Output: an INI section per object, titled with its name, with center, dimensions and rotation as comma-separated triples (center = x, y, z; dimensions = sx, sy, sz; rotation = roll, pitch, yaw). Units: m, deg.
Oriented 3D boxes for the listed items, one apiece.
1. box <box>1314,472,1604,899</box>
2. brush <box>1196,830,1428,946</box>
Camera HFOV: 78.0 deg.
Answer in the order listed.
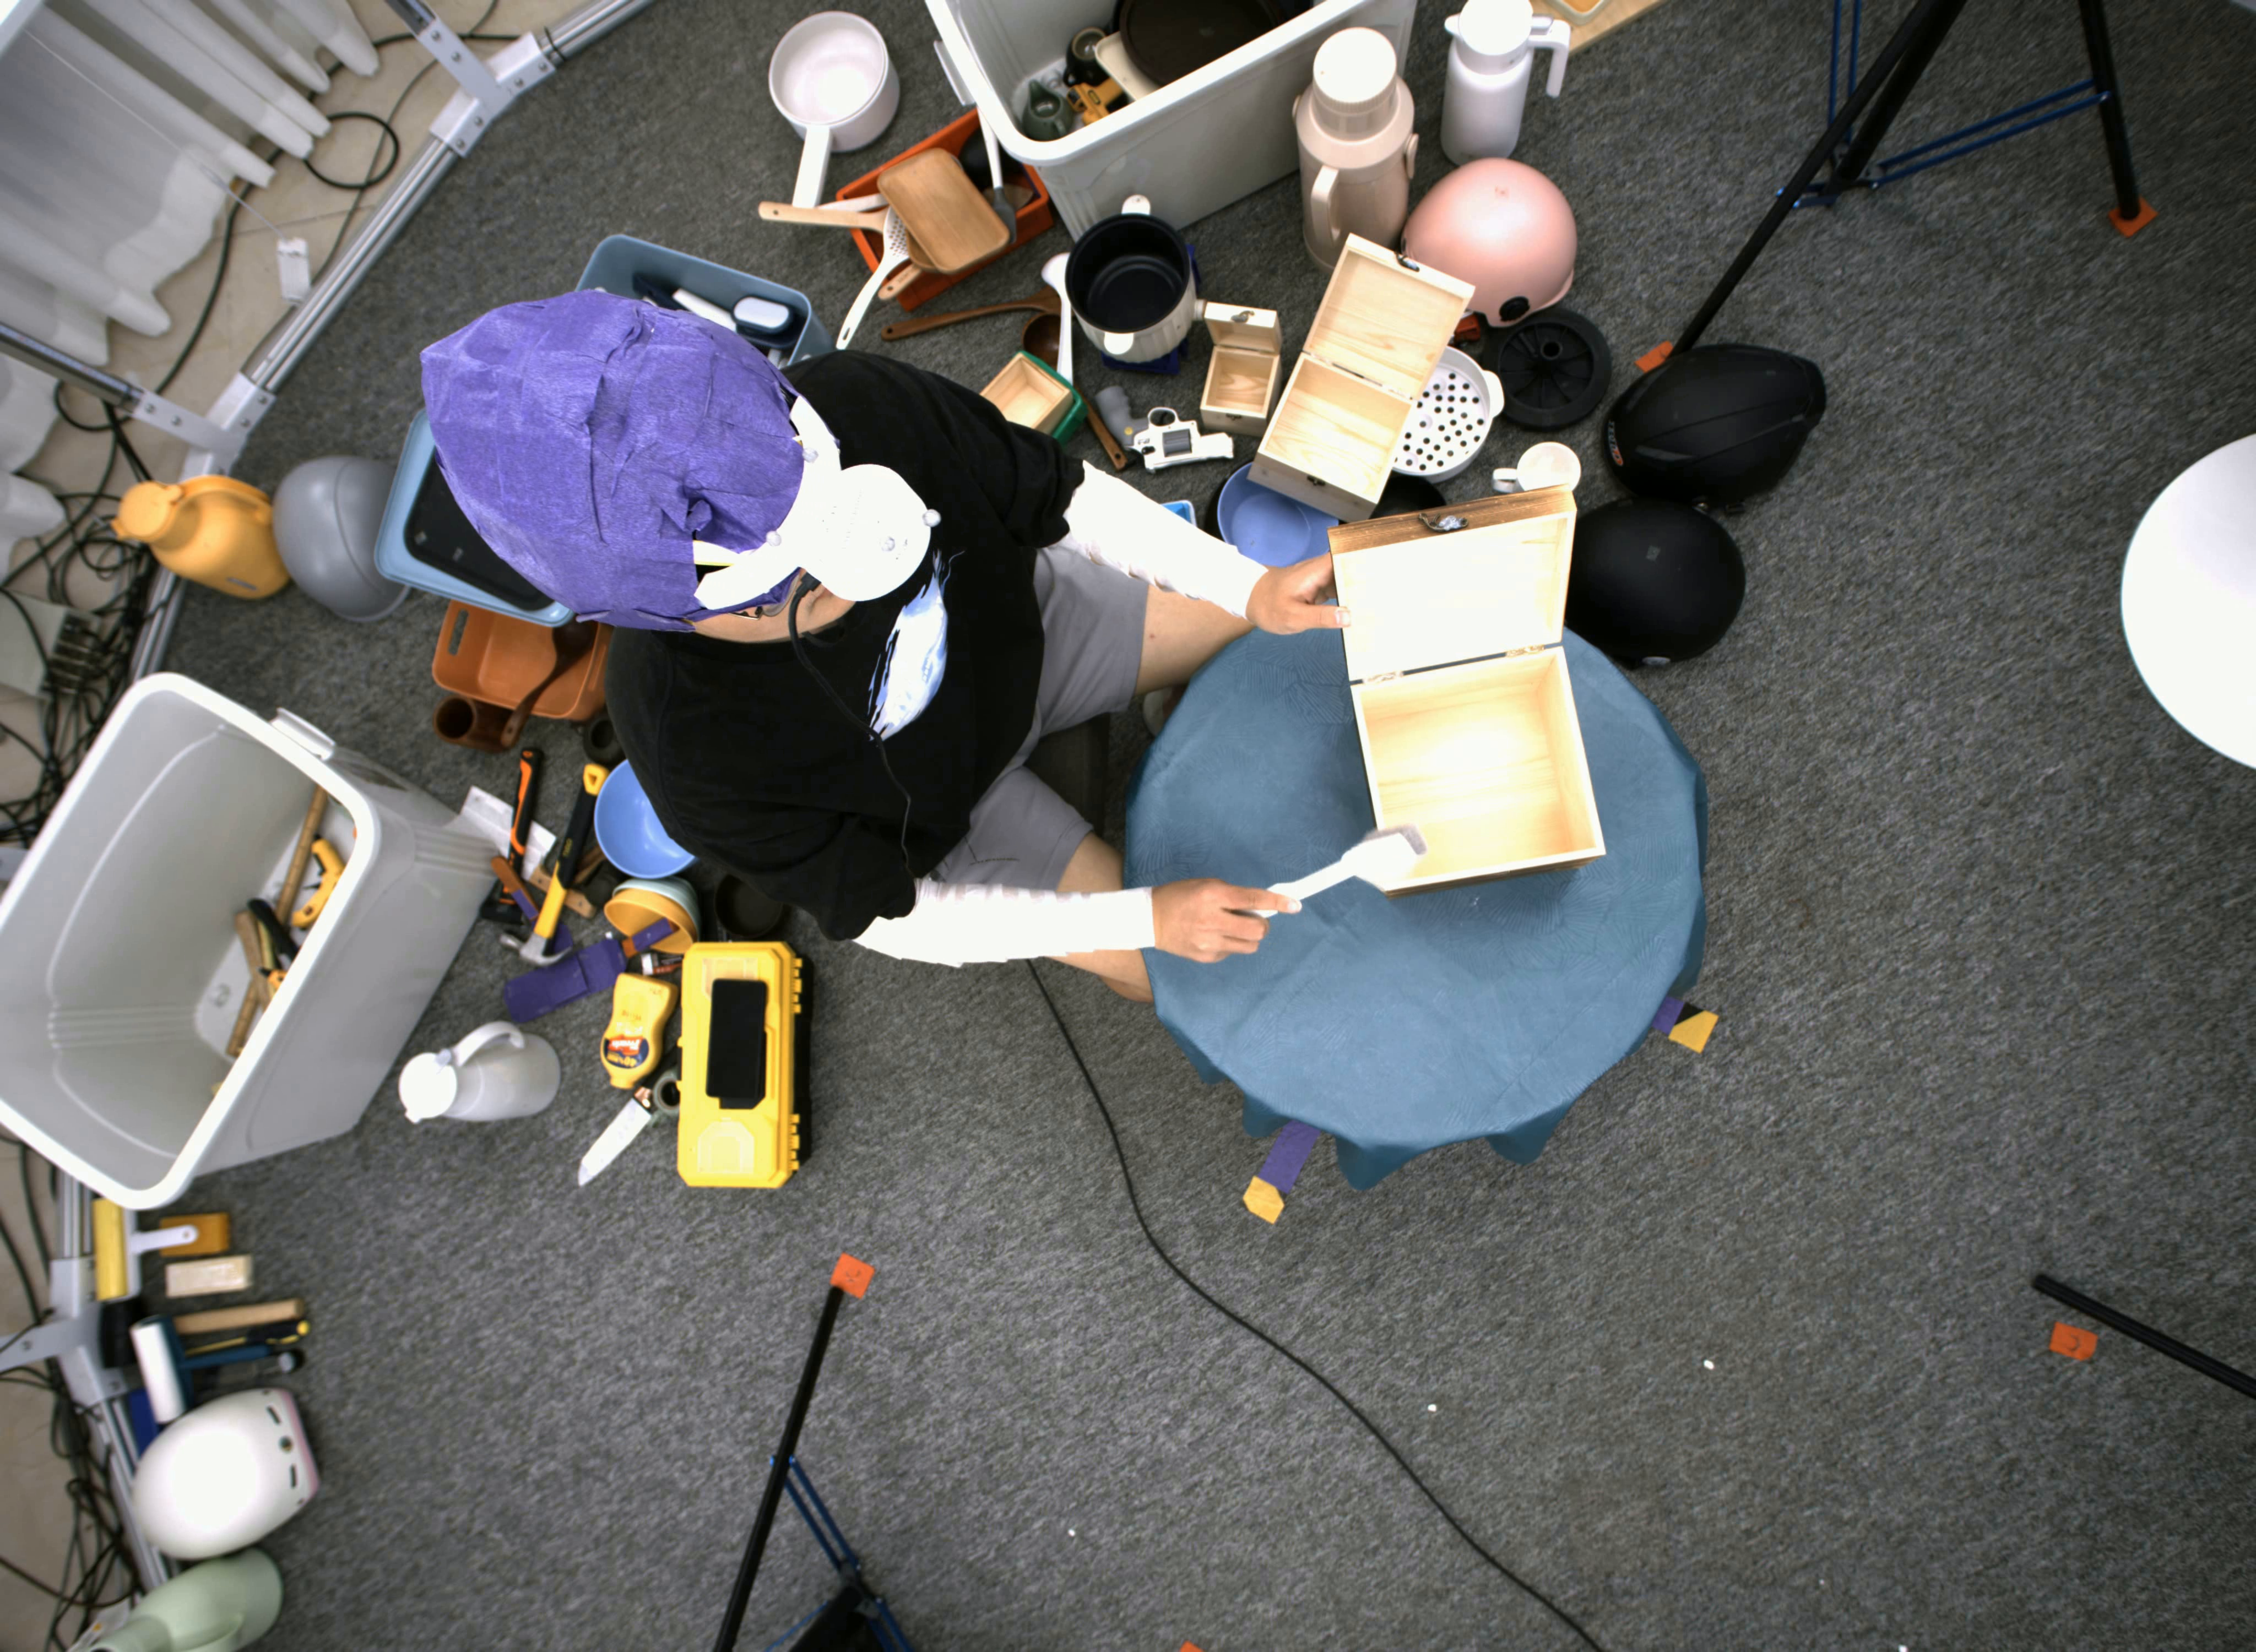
[box]
center = 0.313, -0.108, 1.281
dimensions = 0.210, 0.376, 0.320
rotation = -10, 82, 11
[brush]
center = 0.171, 0.059, 1.317
dimensions = 0.247, 0.049, 0.034
rotation = -24, 107, 32
